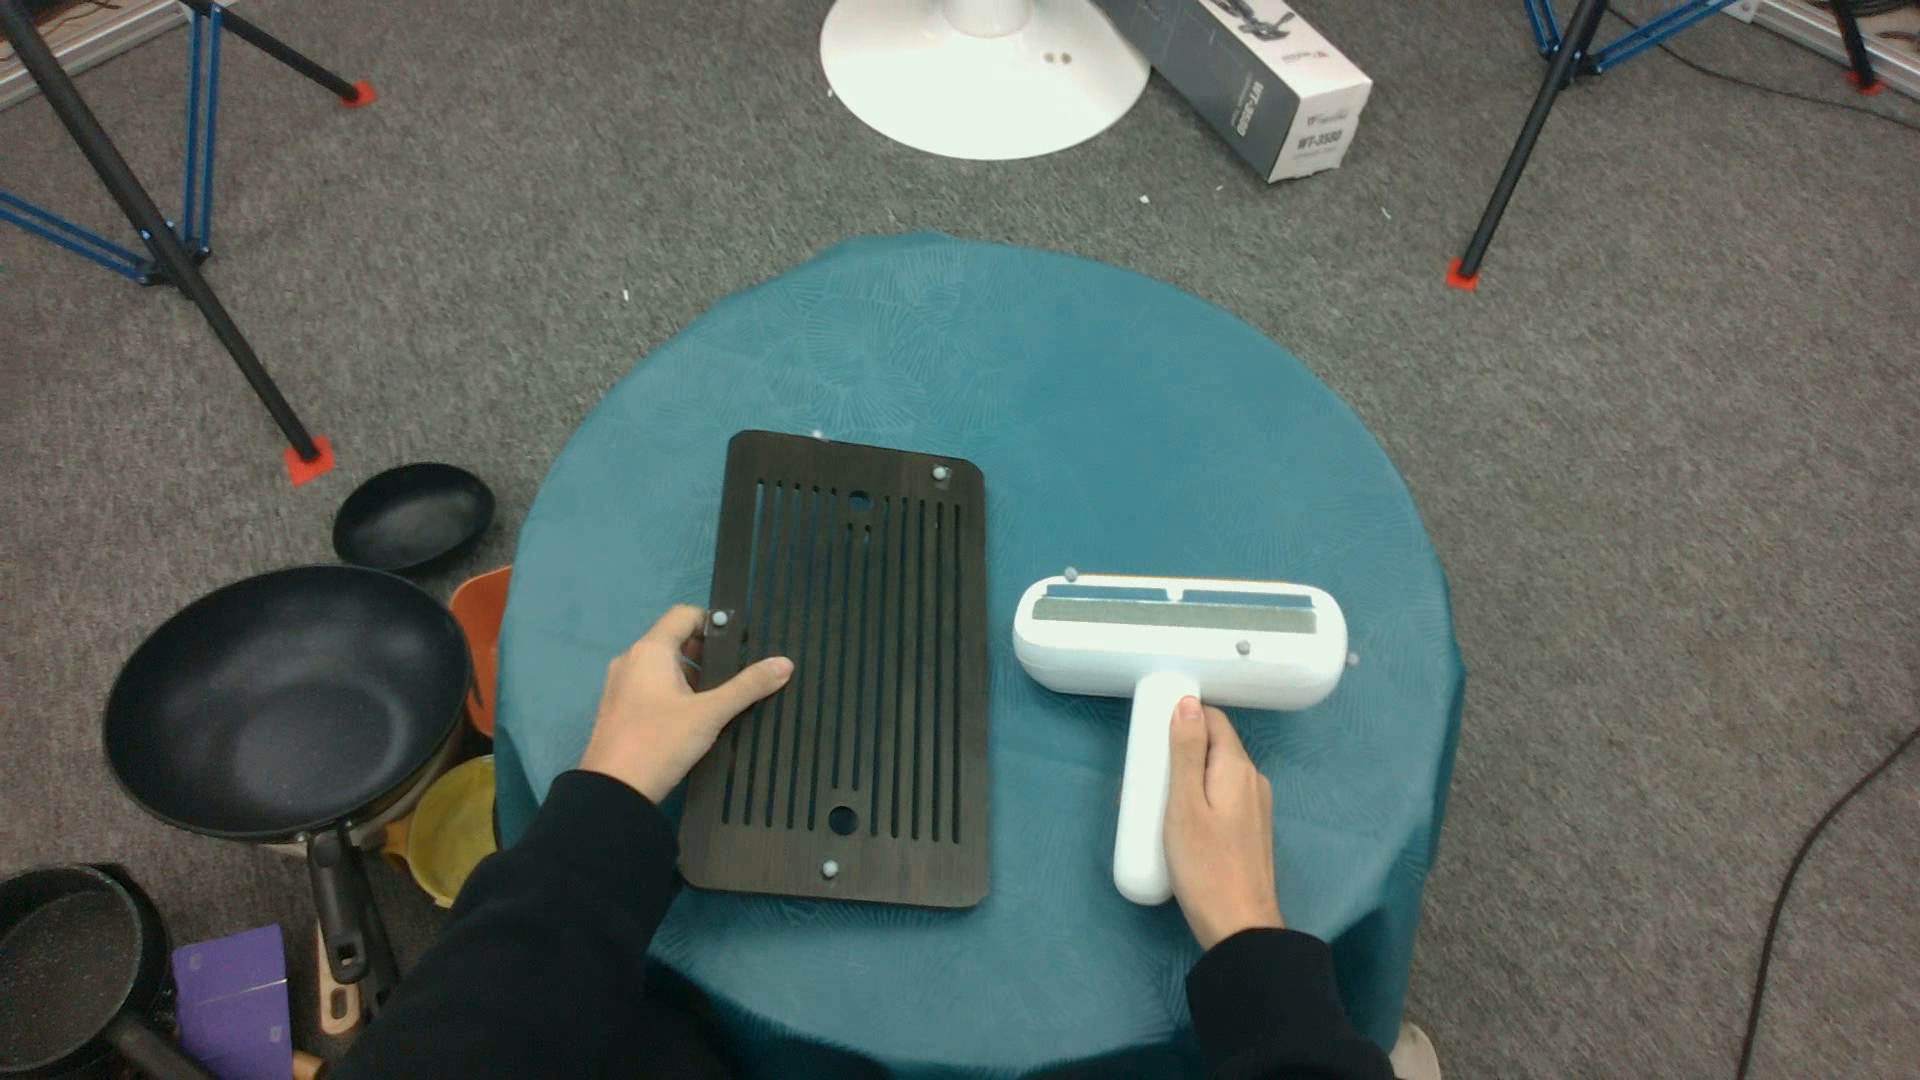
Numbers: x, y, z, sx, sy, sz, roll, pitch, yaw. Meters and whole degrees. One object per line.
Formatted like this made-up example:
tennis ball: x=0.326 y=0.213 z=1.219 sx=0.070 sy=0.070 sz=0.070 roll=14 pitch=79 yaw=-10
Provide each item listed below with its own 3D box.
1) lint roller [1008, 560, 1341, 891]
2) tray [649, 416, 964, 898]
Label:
lint roller: x=0.107 y=0.101 z=0.777 sx=0.192 sy=0.074 sz=0.193 roll=9 pitch=52 yaw=15
tray: x=-0.082 y=0.060 z=0.819 sx=0.170 sy=0.018 sz=0.307 roll=7 pitch=56 yaw=-11
